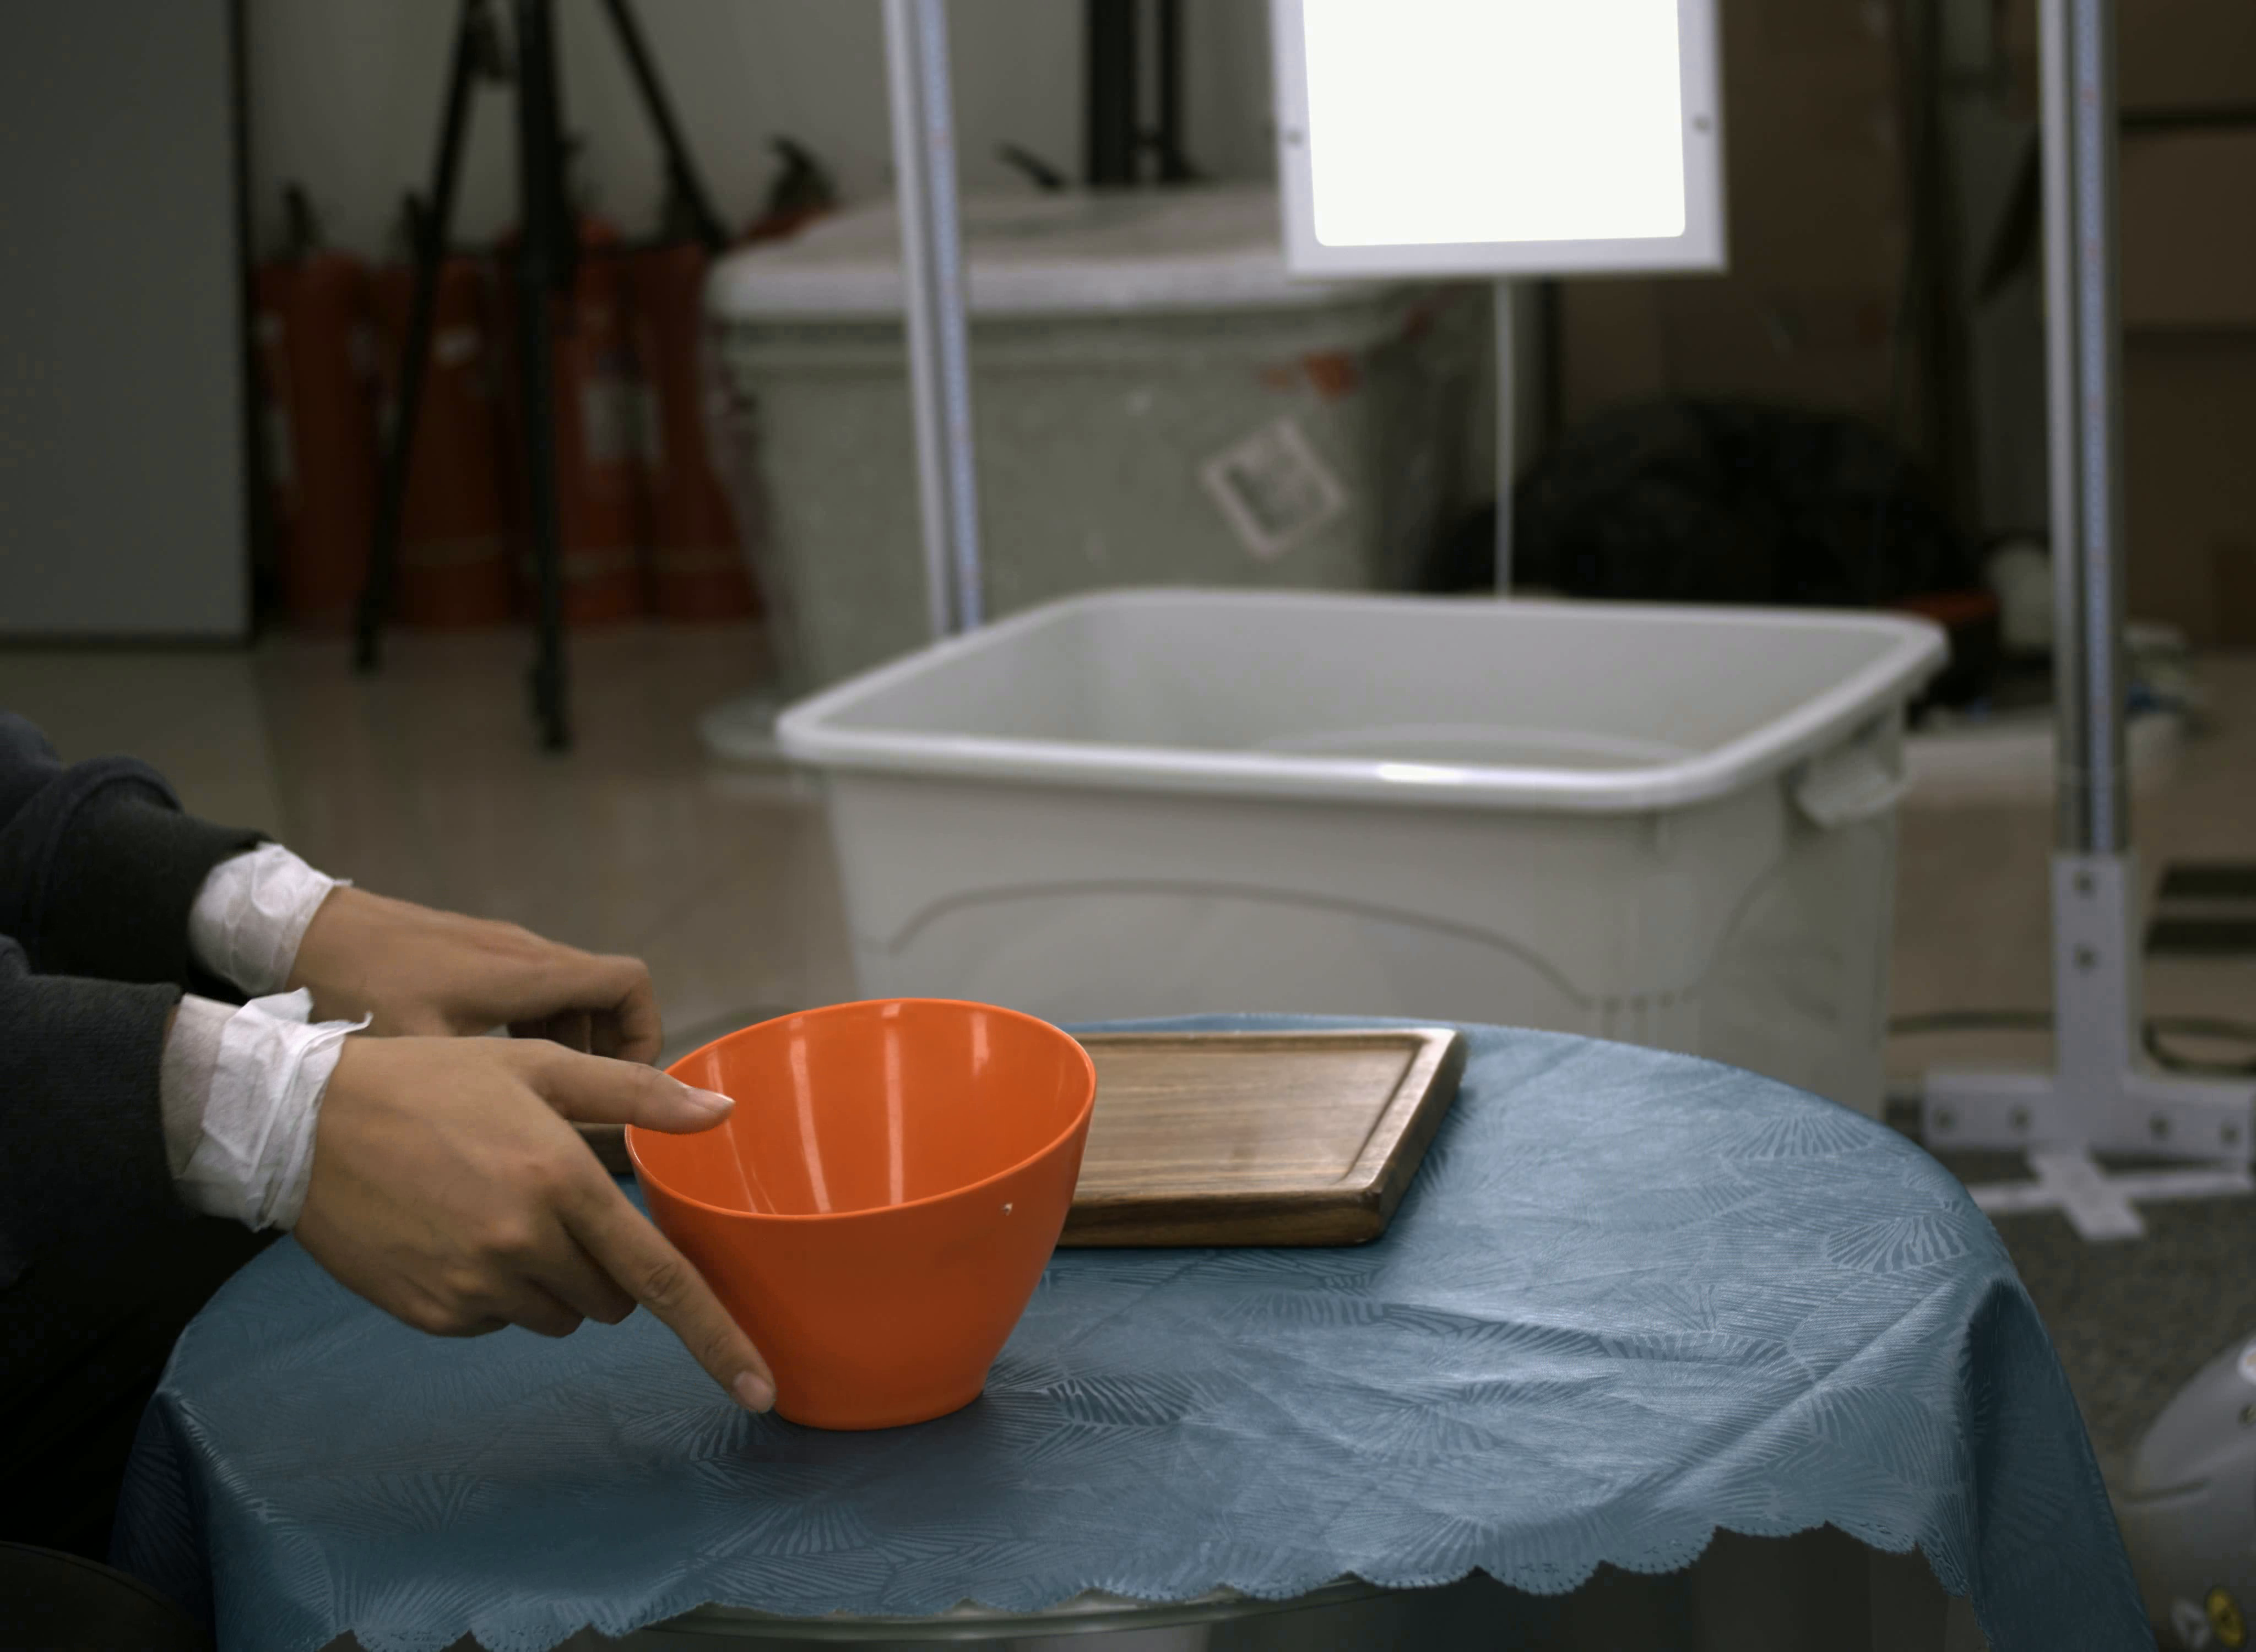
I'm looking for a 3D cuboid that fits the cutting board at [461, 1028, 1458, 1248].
[{"bbox_3d":[-0.067,0.110,1.948,0.355,0.023,0.198,-2,14,15],"label":"cutting board"}]

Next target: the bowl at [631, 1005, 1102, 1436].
[{"bbox_3d":[-0.078,0.126,1.716,0.147,0.105,0.148,-5,14,0],"label":"bowl"}]
